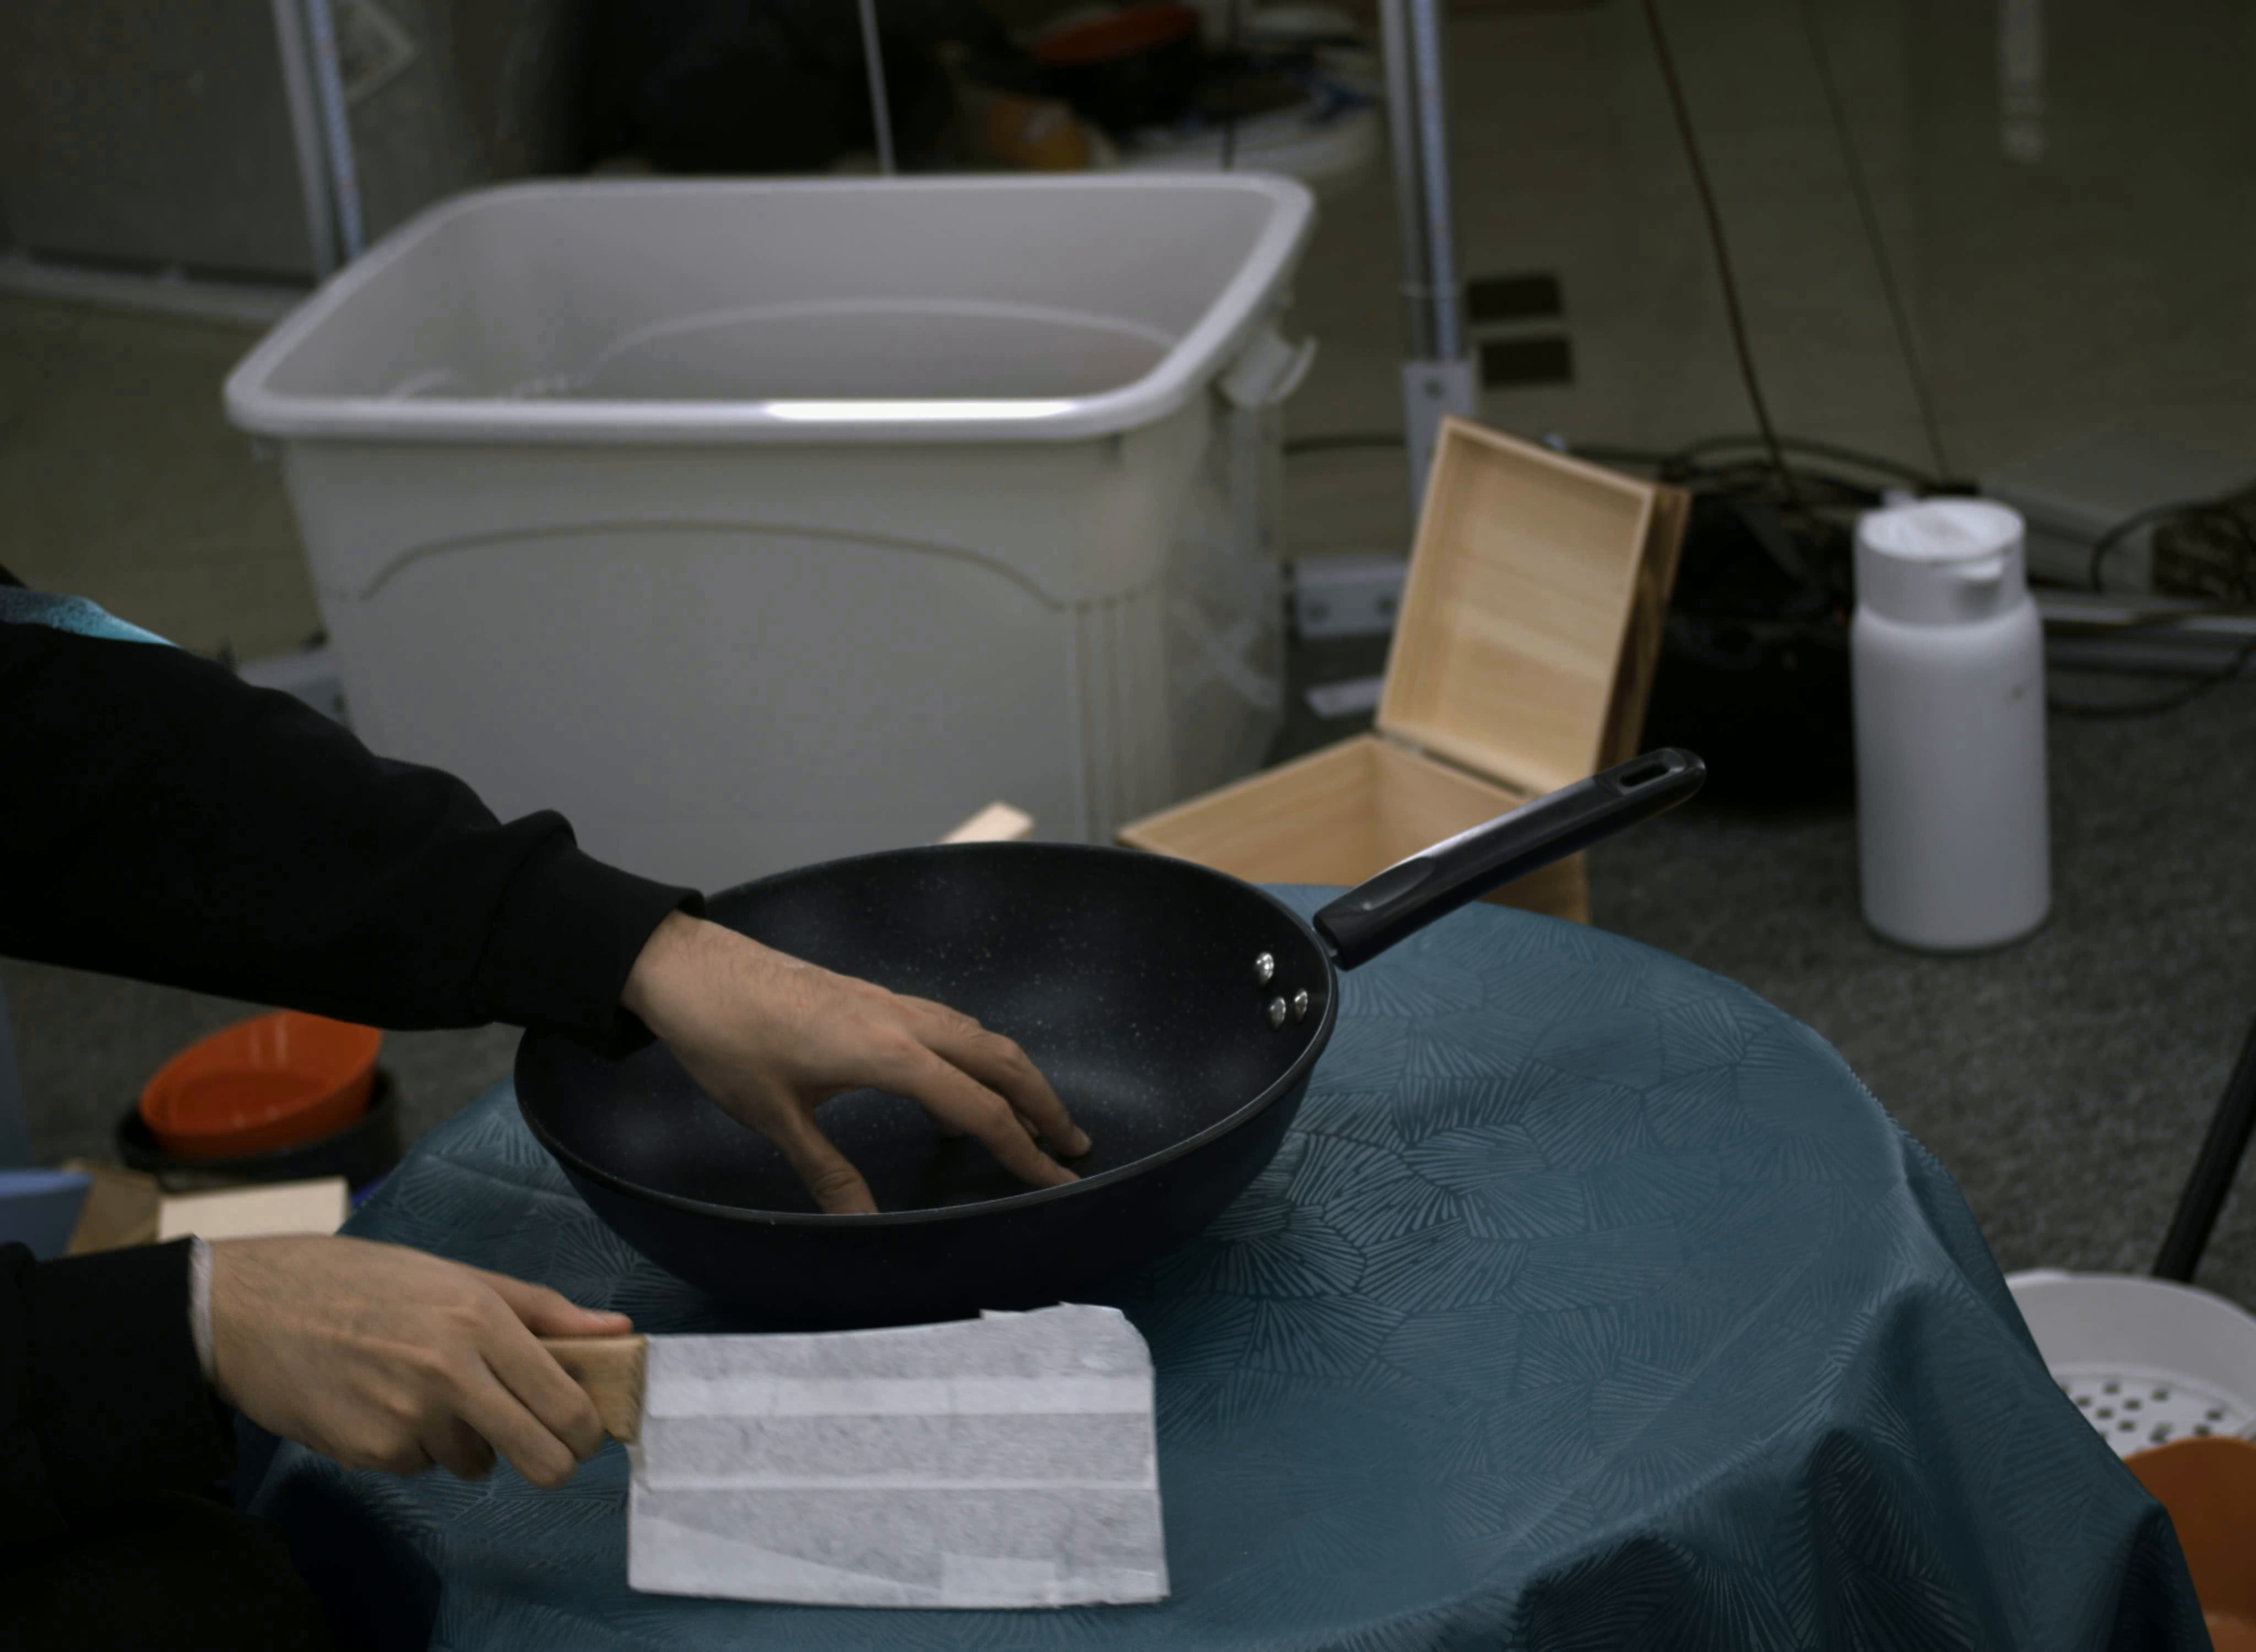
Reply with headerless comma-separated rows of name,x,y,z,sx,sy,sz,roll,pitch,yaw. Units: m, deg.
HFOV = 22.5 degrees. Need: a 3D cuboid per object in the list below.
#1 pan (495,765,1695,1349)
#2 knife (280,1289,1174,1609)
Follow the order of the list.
pan,-0.001,0.083,2.141,0.475,0.113,0.306,-14,28,-16
knife,-0.136,0.207,1.918,0.315,0.114,0.022,2,-5,12
